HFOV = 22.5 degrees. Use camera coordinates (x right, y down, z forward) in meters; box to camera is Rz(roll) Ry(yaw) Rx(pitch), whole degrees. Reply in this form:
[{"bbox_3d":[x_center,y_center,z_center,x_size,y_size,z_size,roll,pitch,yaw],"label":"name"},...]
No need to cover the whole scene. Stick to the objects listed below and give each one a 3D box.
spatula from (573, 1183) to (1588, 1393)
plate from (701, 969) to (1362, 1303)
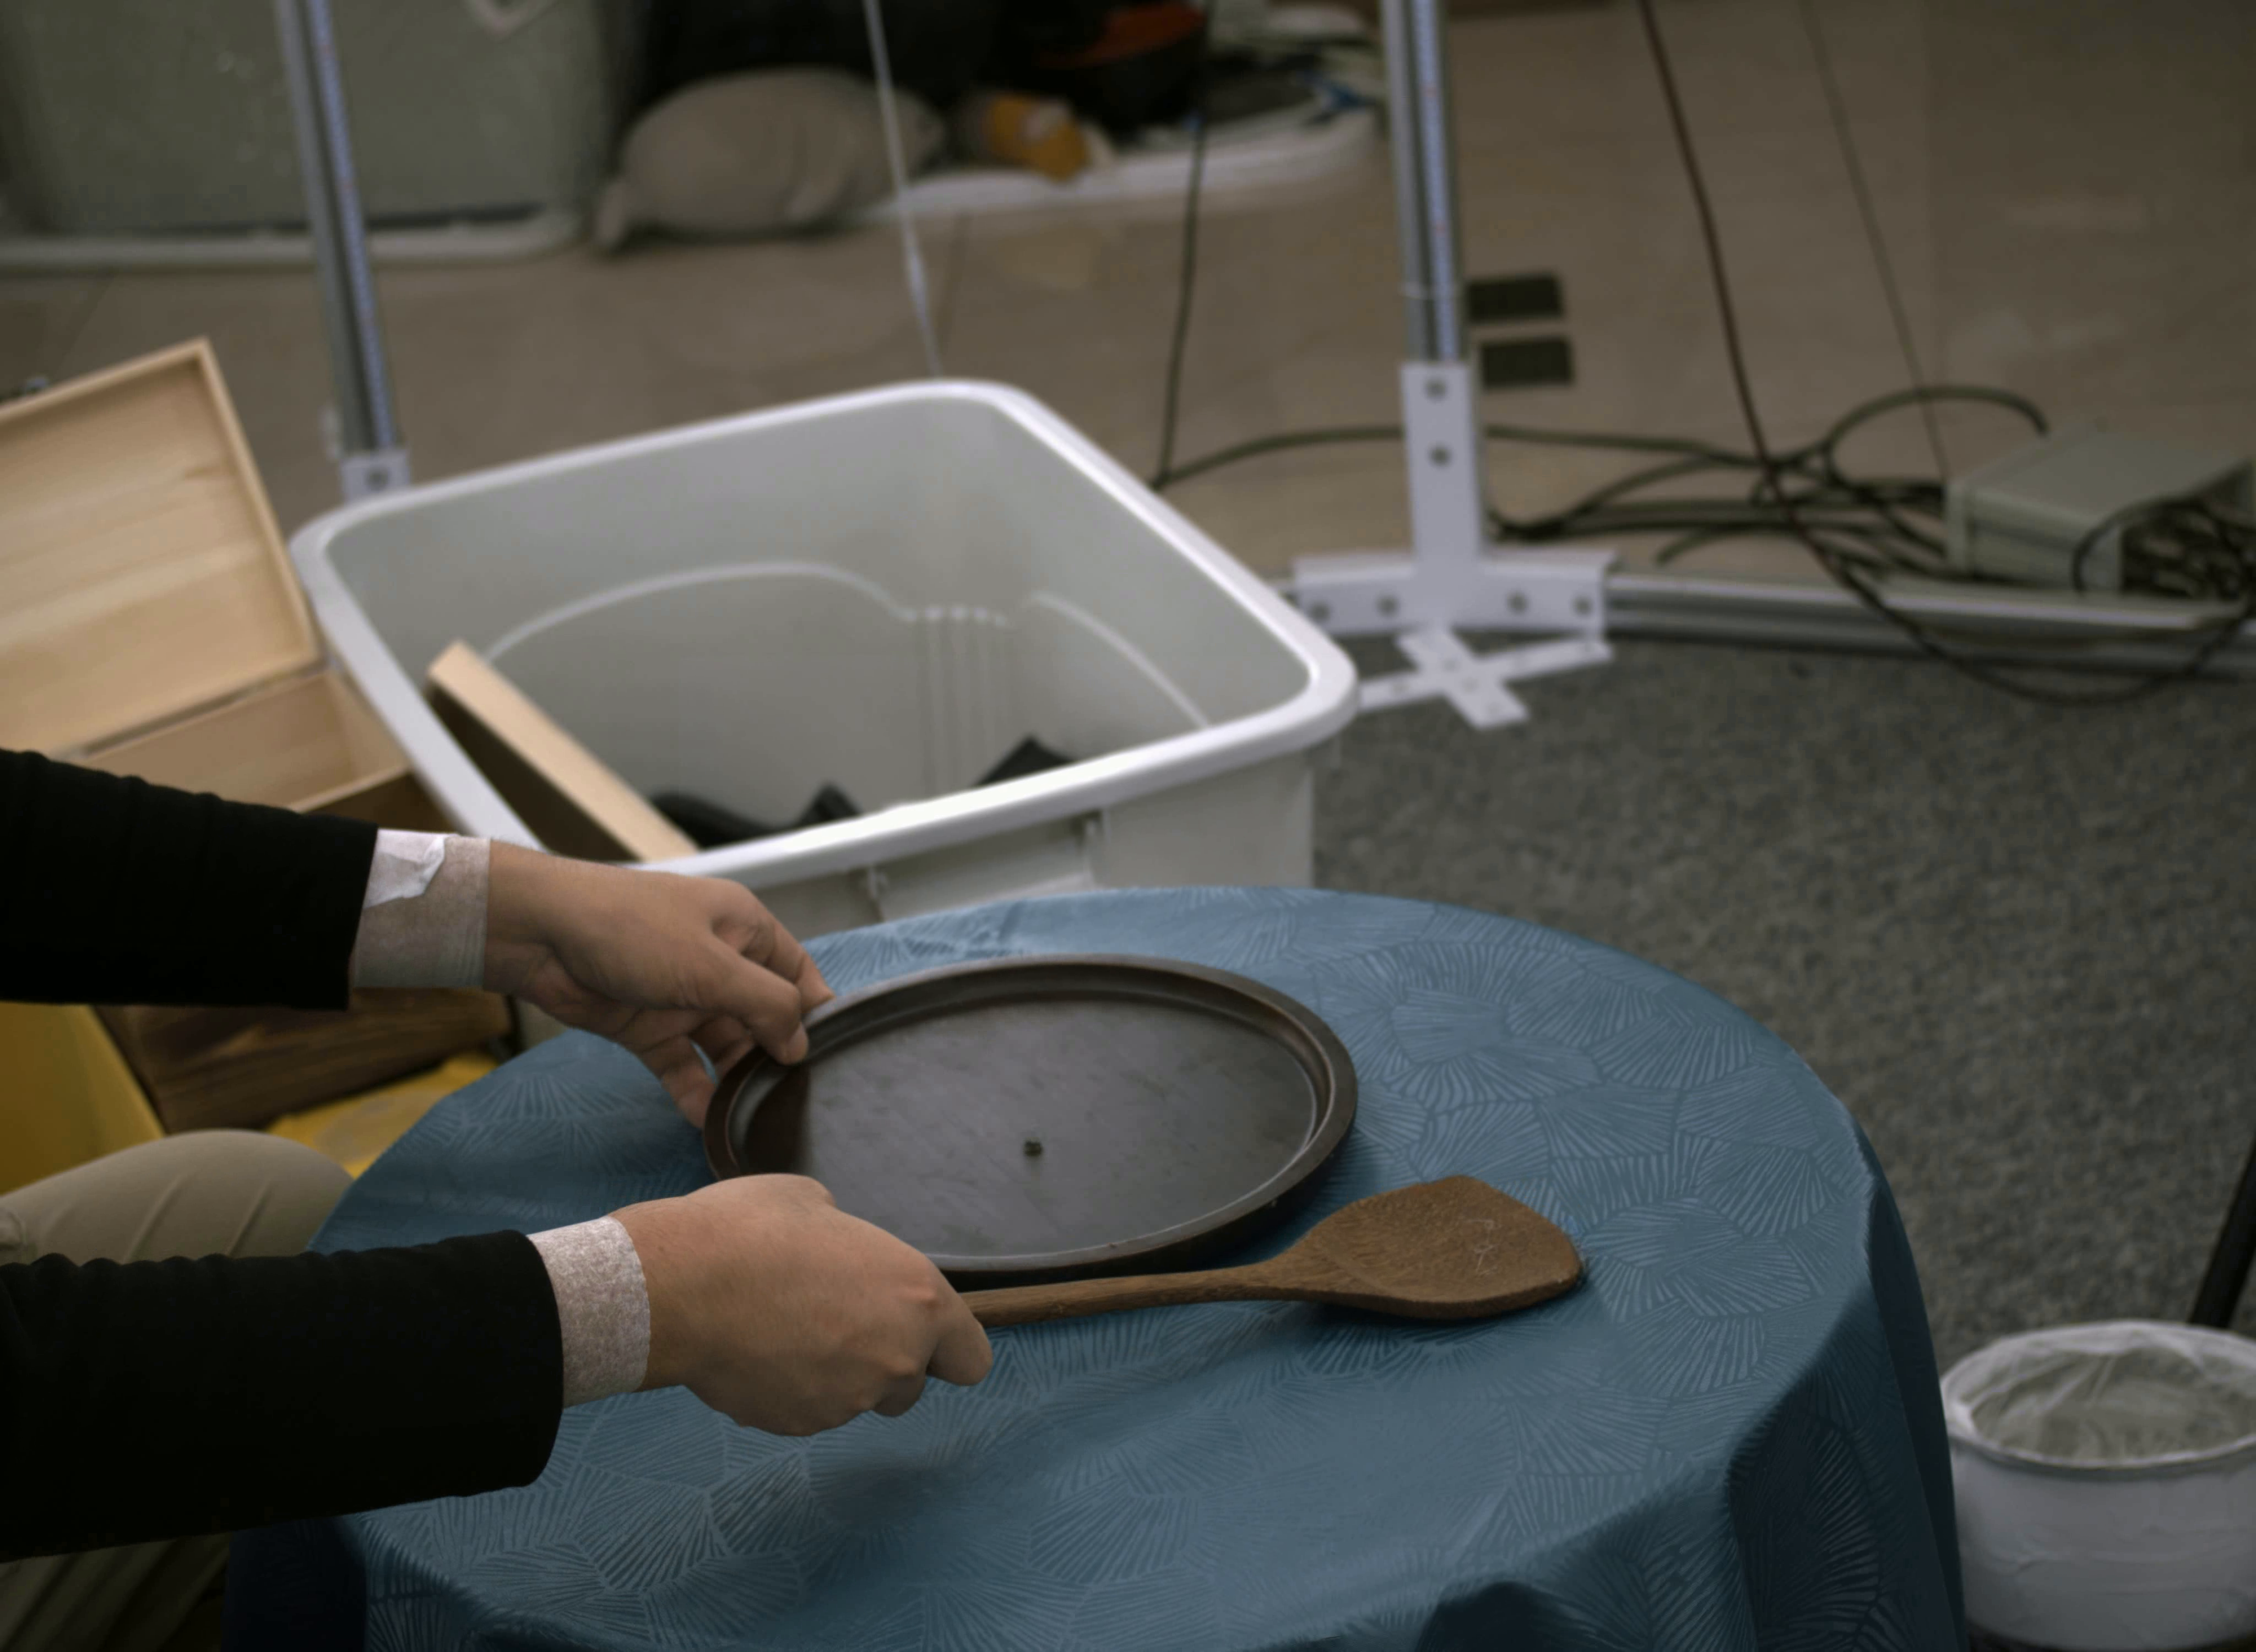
[{"bbox_3d":[-0.015,0.167,2.002,0.385,0.016,0.095,-5,22,-27],"label":"spatula"},{"bbox_3d":[-0.036,0.117,2.172,0.254,0.029,0.251,-3,25,1],"label":"plate"}]
